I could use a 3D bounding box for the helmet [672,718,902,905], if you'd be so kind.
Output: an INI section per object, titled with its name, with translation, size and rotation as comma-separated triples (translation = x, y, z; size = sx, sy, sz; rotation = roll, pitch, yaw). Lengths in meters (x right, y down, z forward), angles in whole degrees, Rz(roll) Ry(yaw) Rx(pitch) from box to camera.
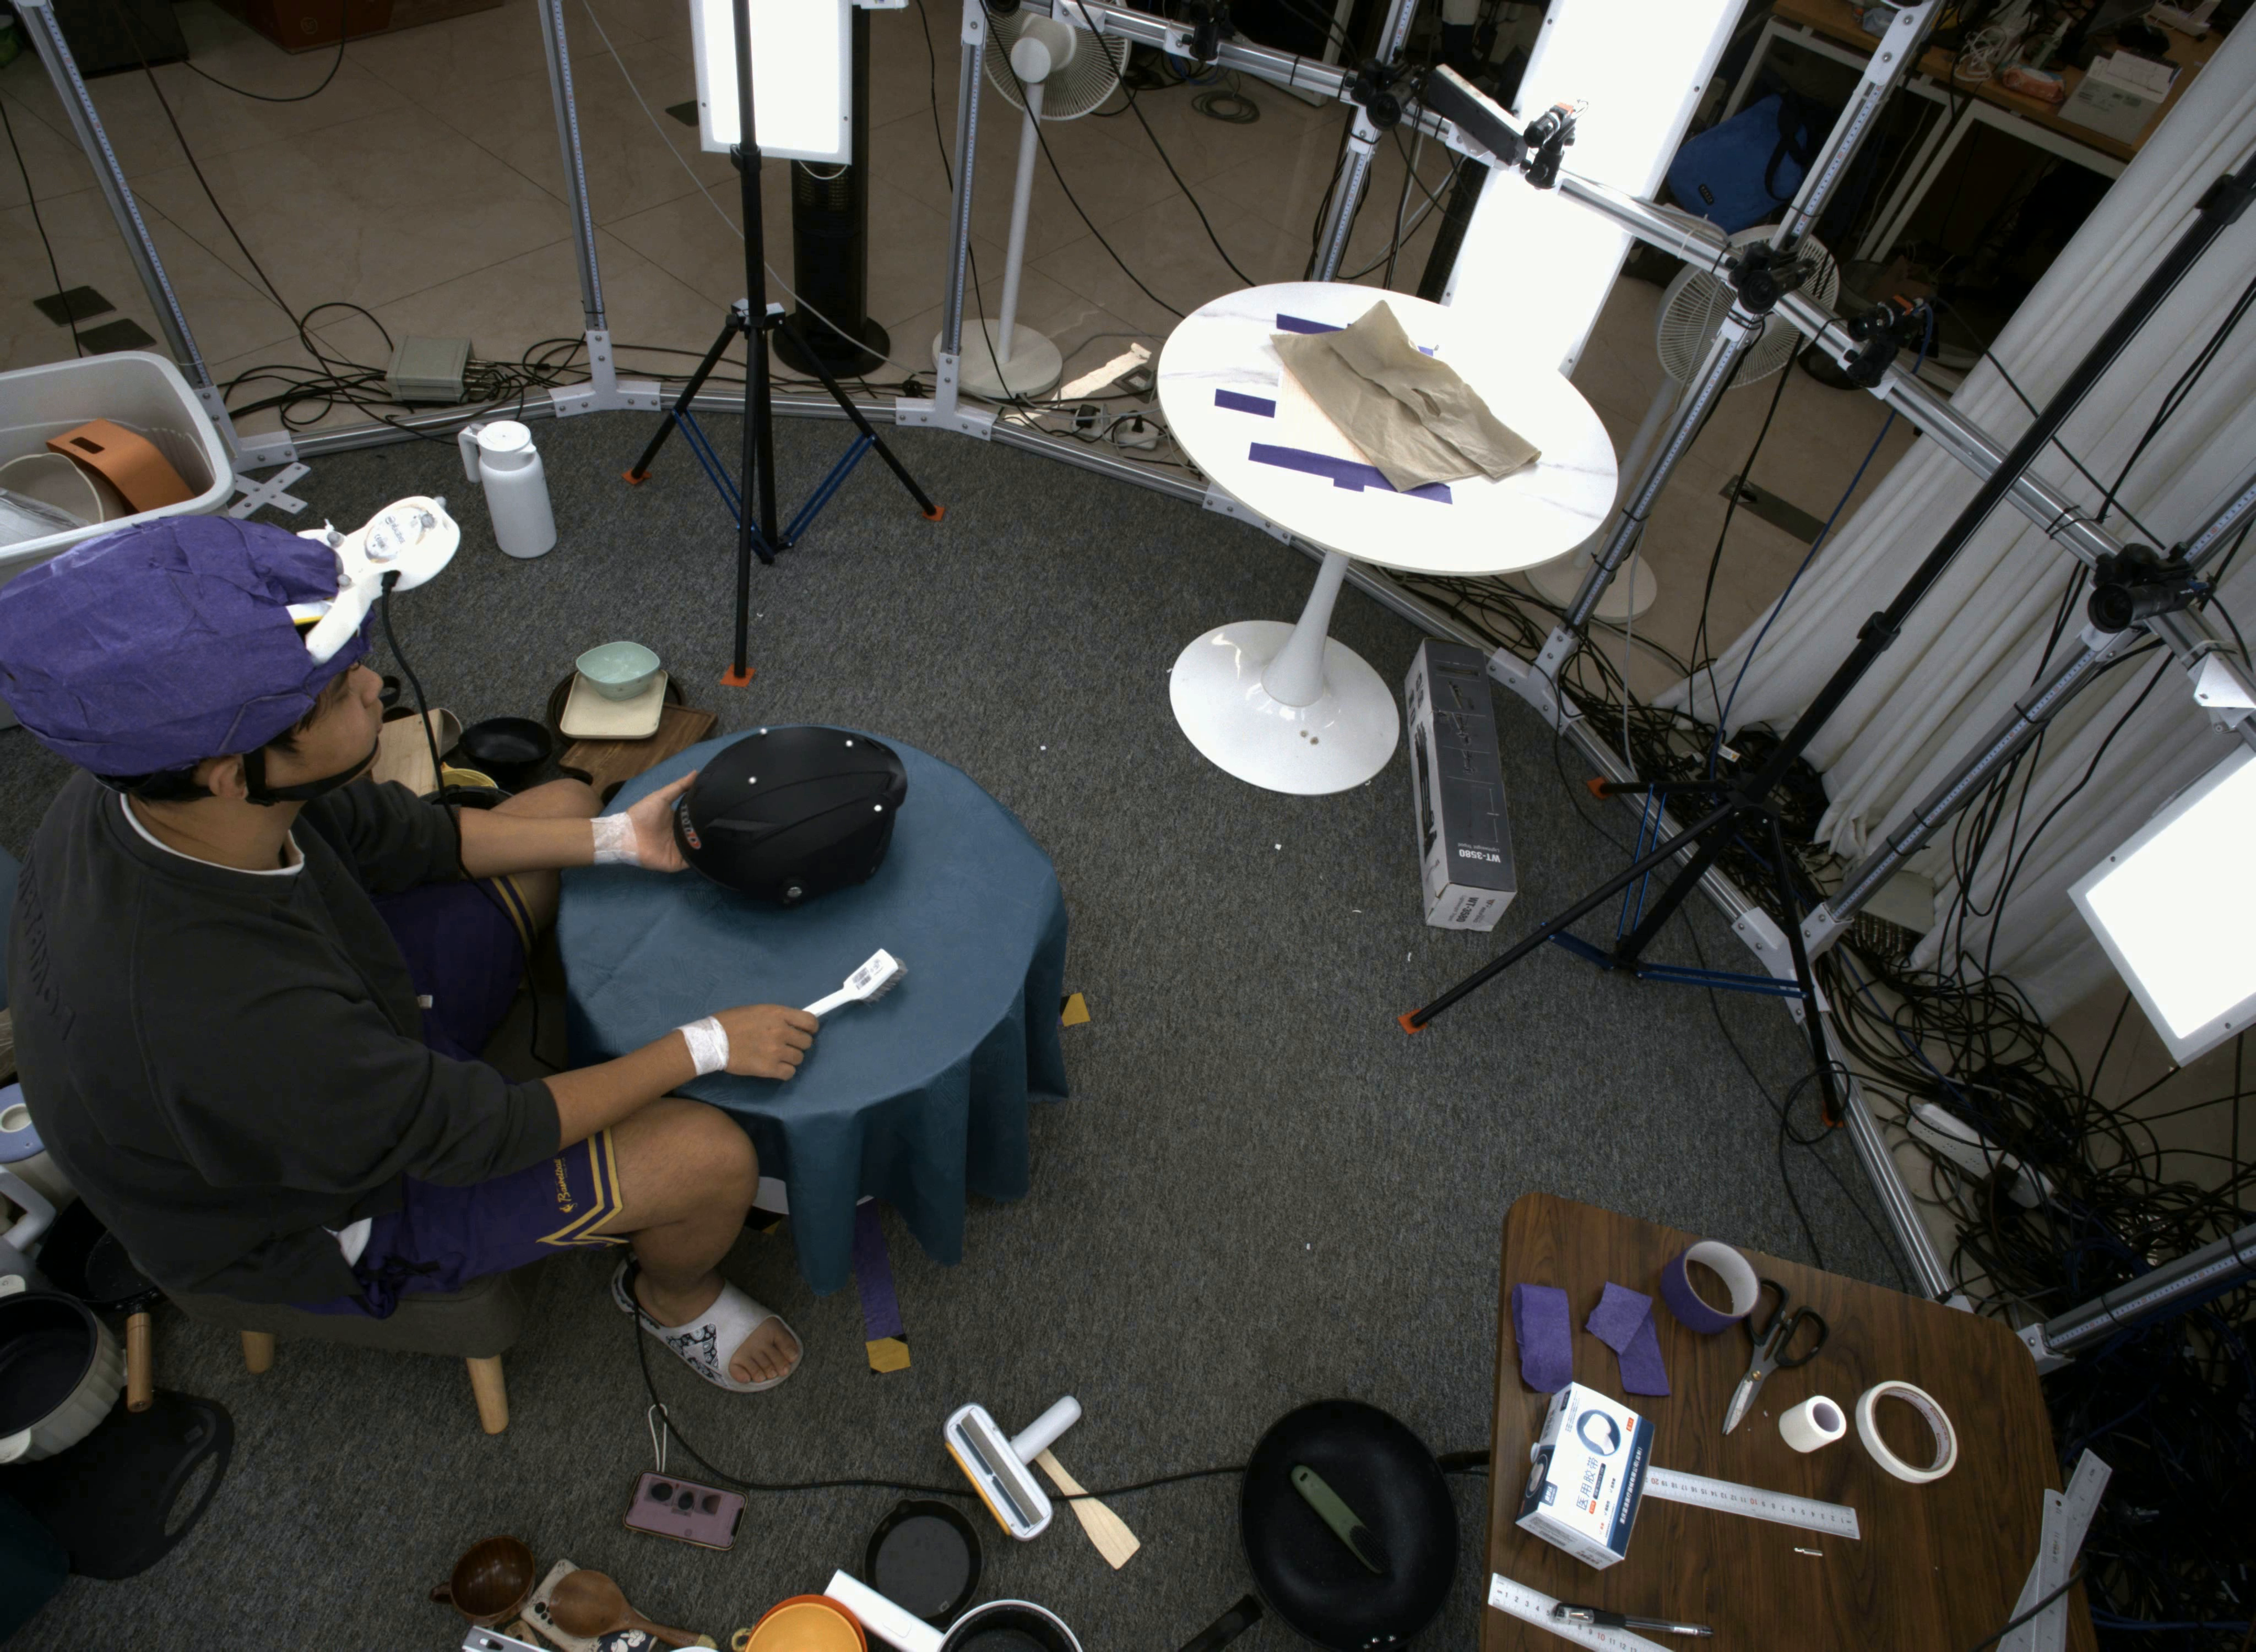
[helmet]
translation = -0.427, -0.036, 1.637
size = 0.280, 0.174, 0.241
rotation = -7, 55, -33

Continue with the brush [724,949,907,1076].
[brush]
translation = -0.373, 0.227, 1.558
size = 0.243, 0.052, 0.033
rotation = -35, 61, -18
